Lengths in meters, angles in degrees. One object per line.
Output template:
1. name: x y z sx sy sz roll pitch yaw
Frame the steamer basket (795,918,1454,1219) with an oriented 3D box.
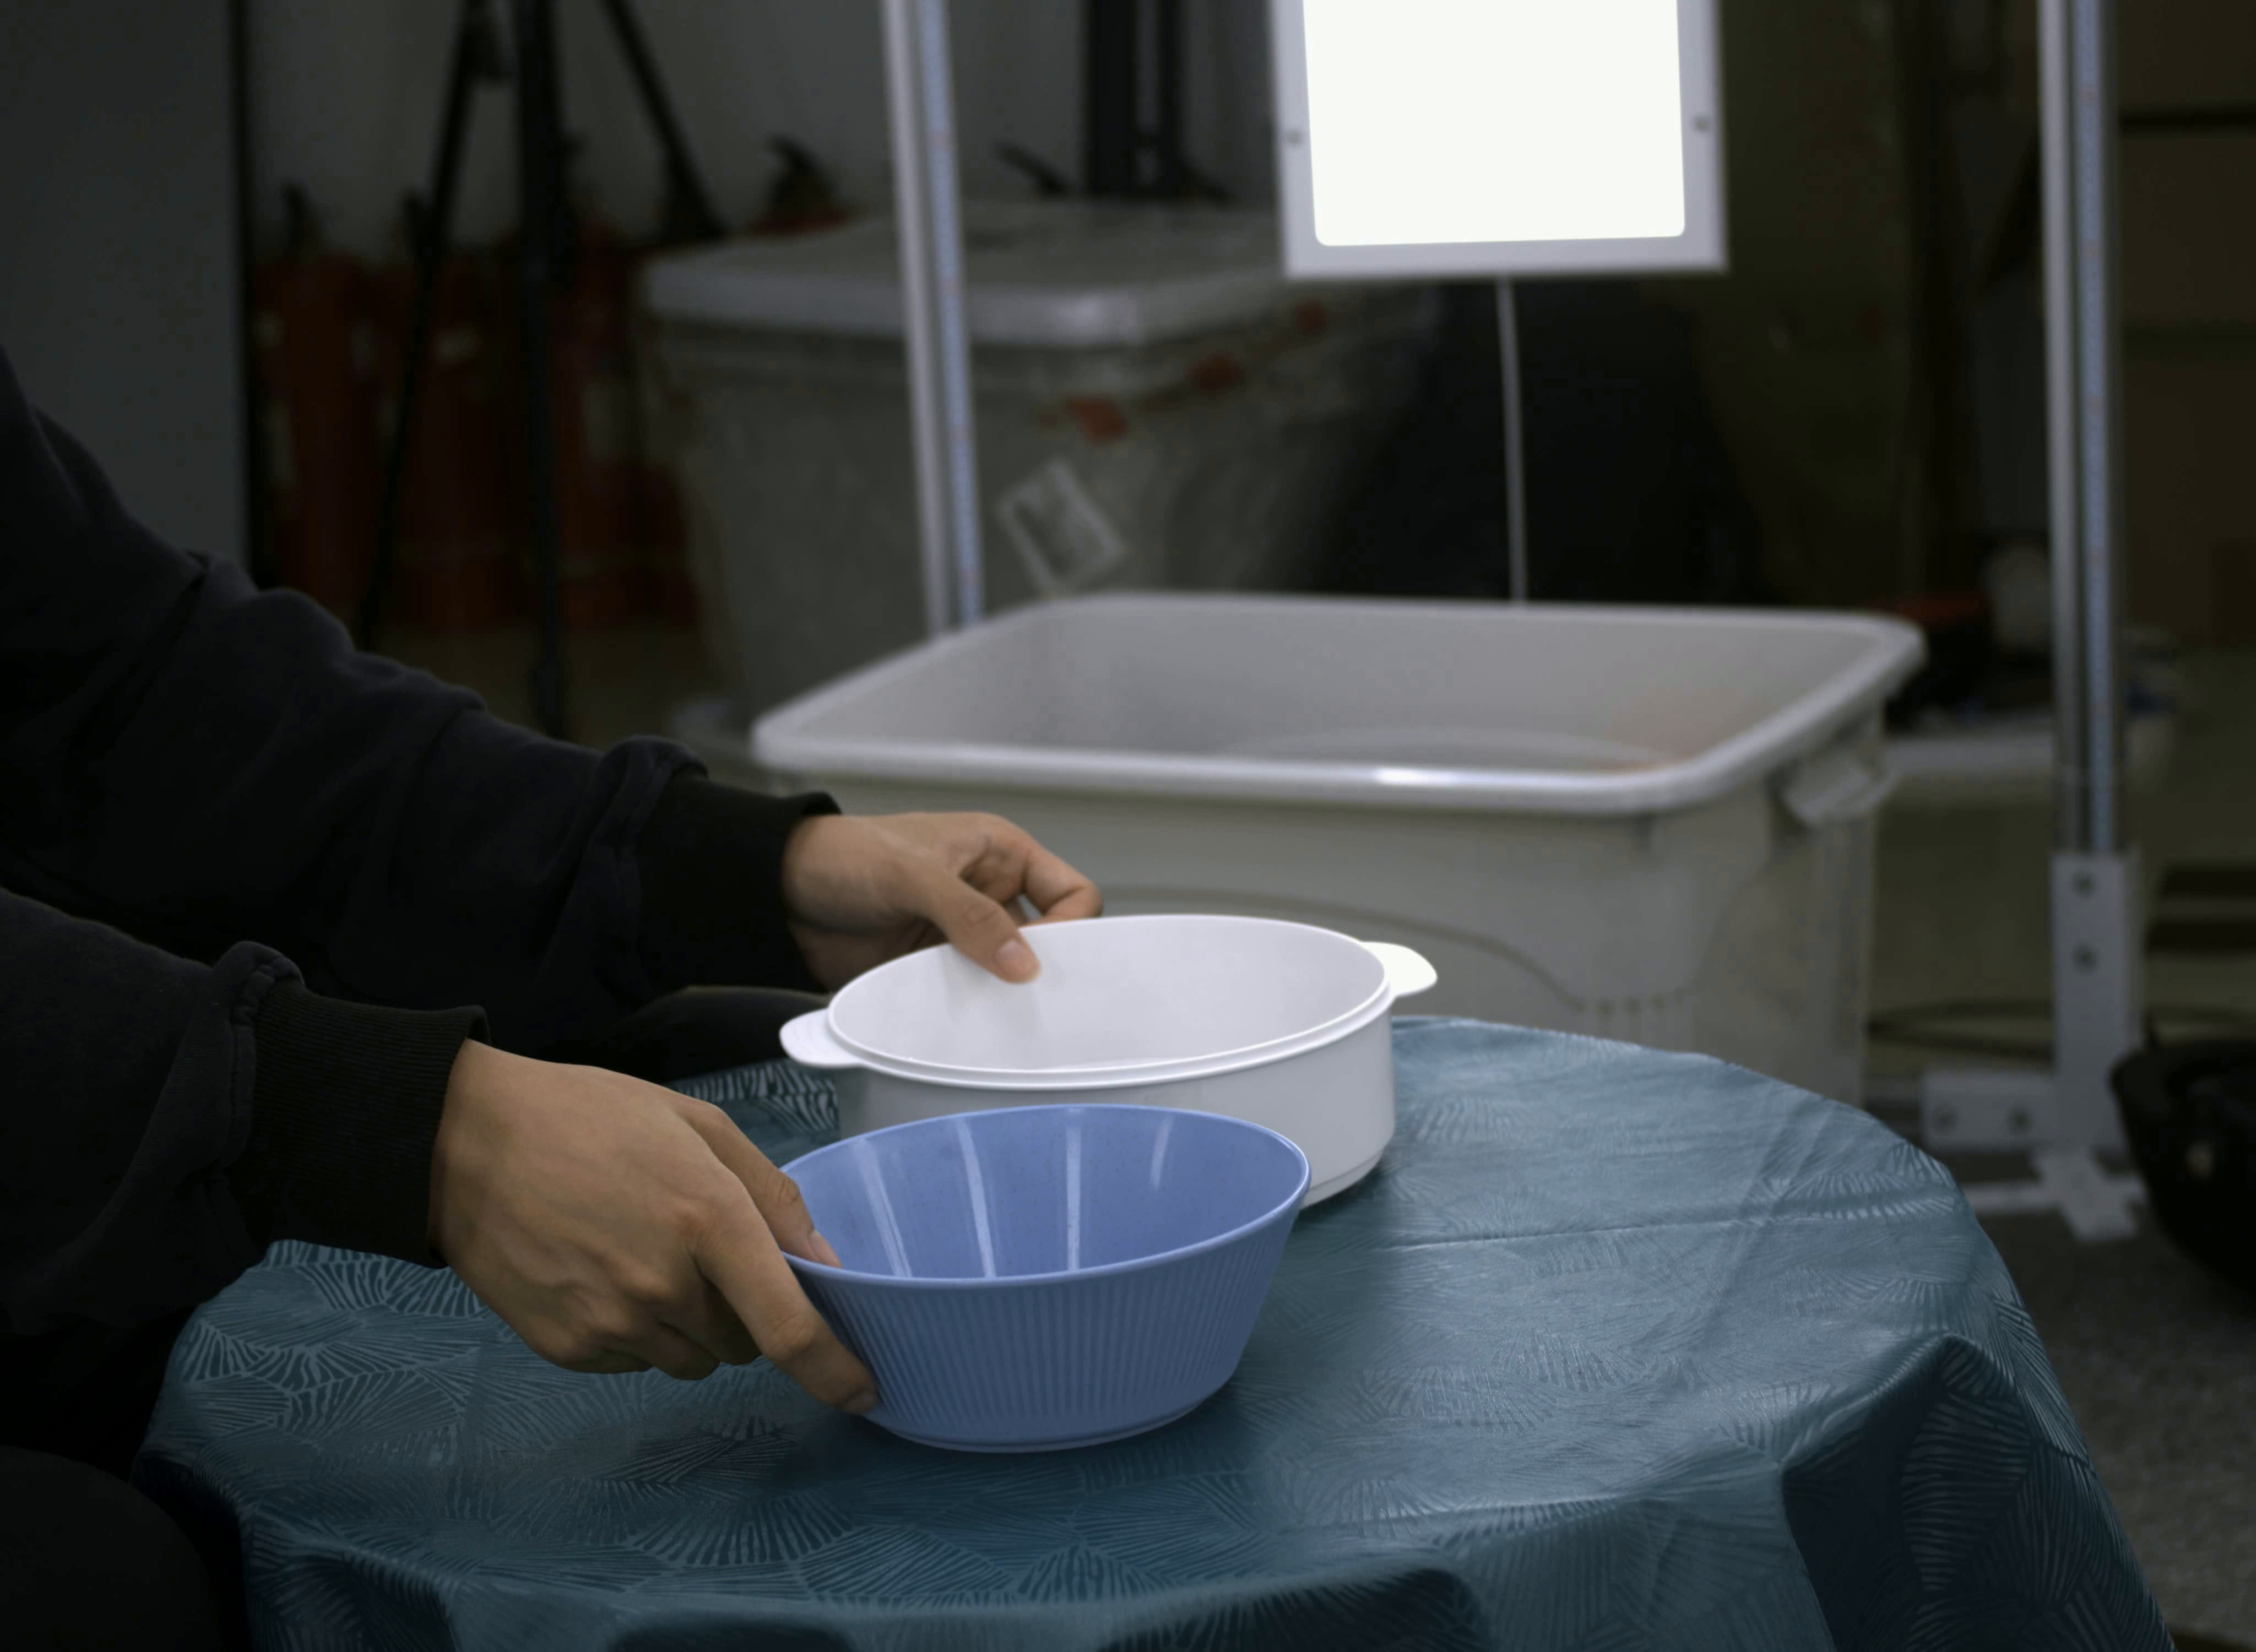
1. steamer basket: 0.001 0.087 1.913 0.228 0.069 0.203 -5 13 -10

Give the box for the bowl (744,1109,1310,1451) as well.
1. bowl: -0.029 0.142 1.696 0.175 0.070 0.176 -5 13 0
